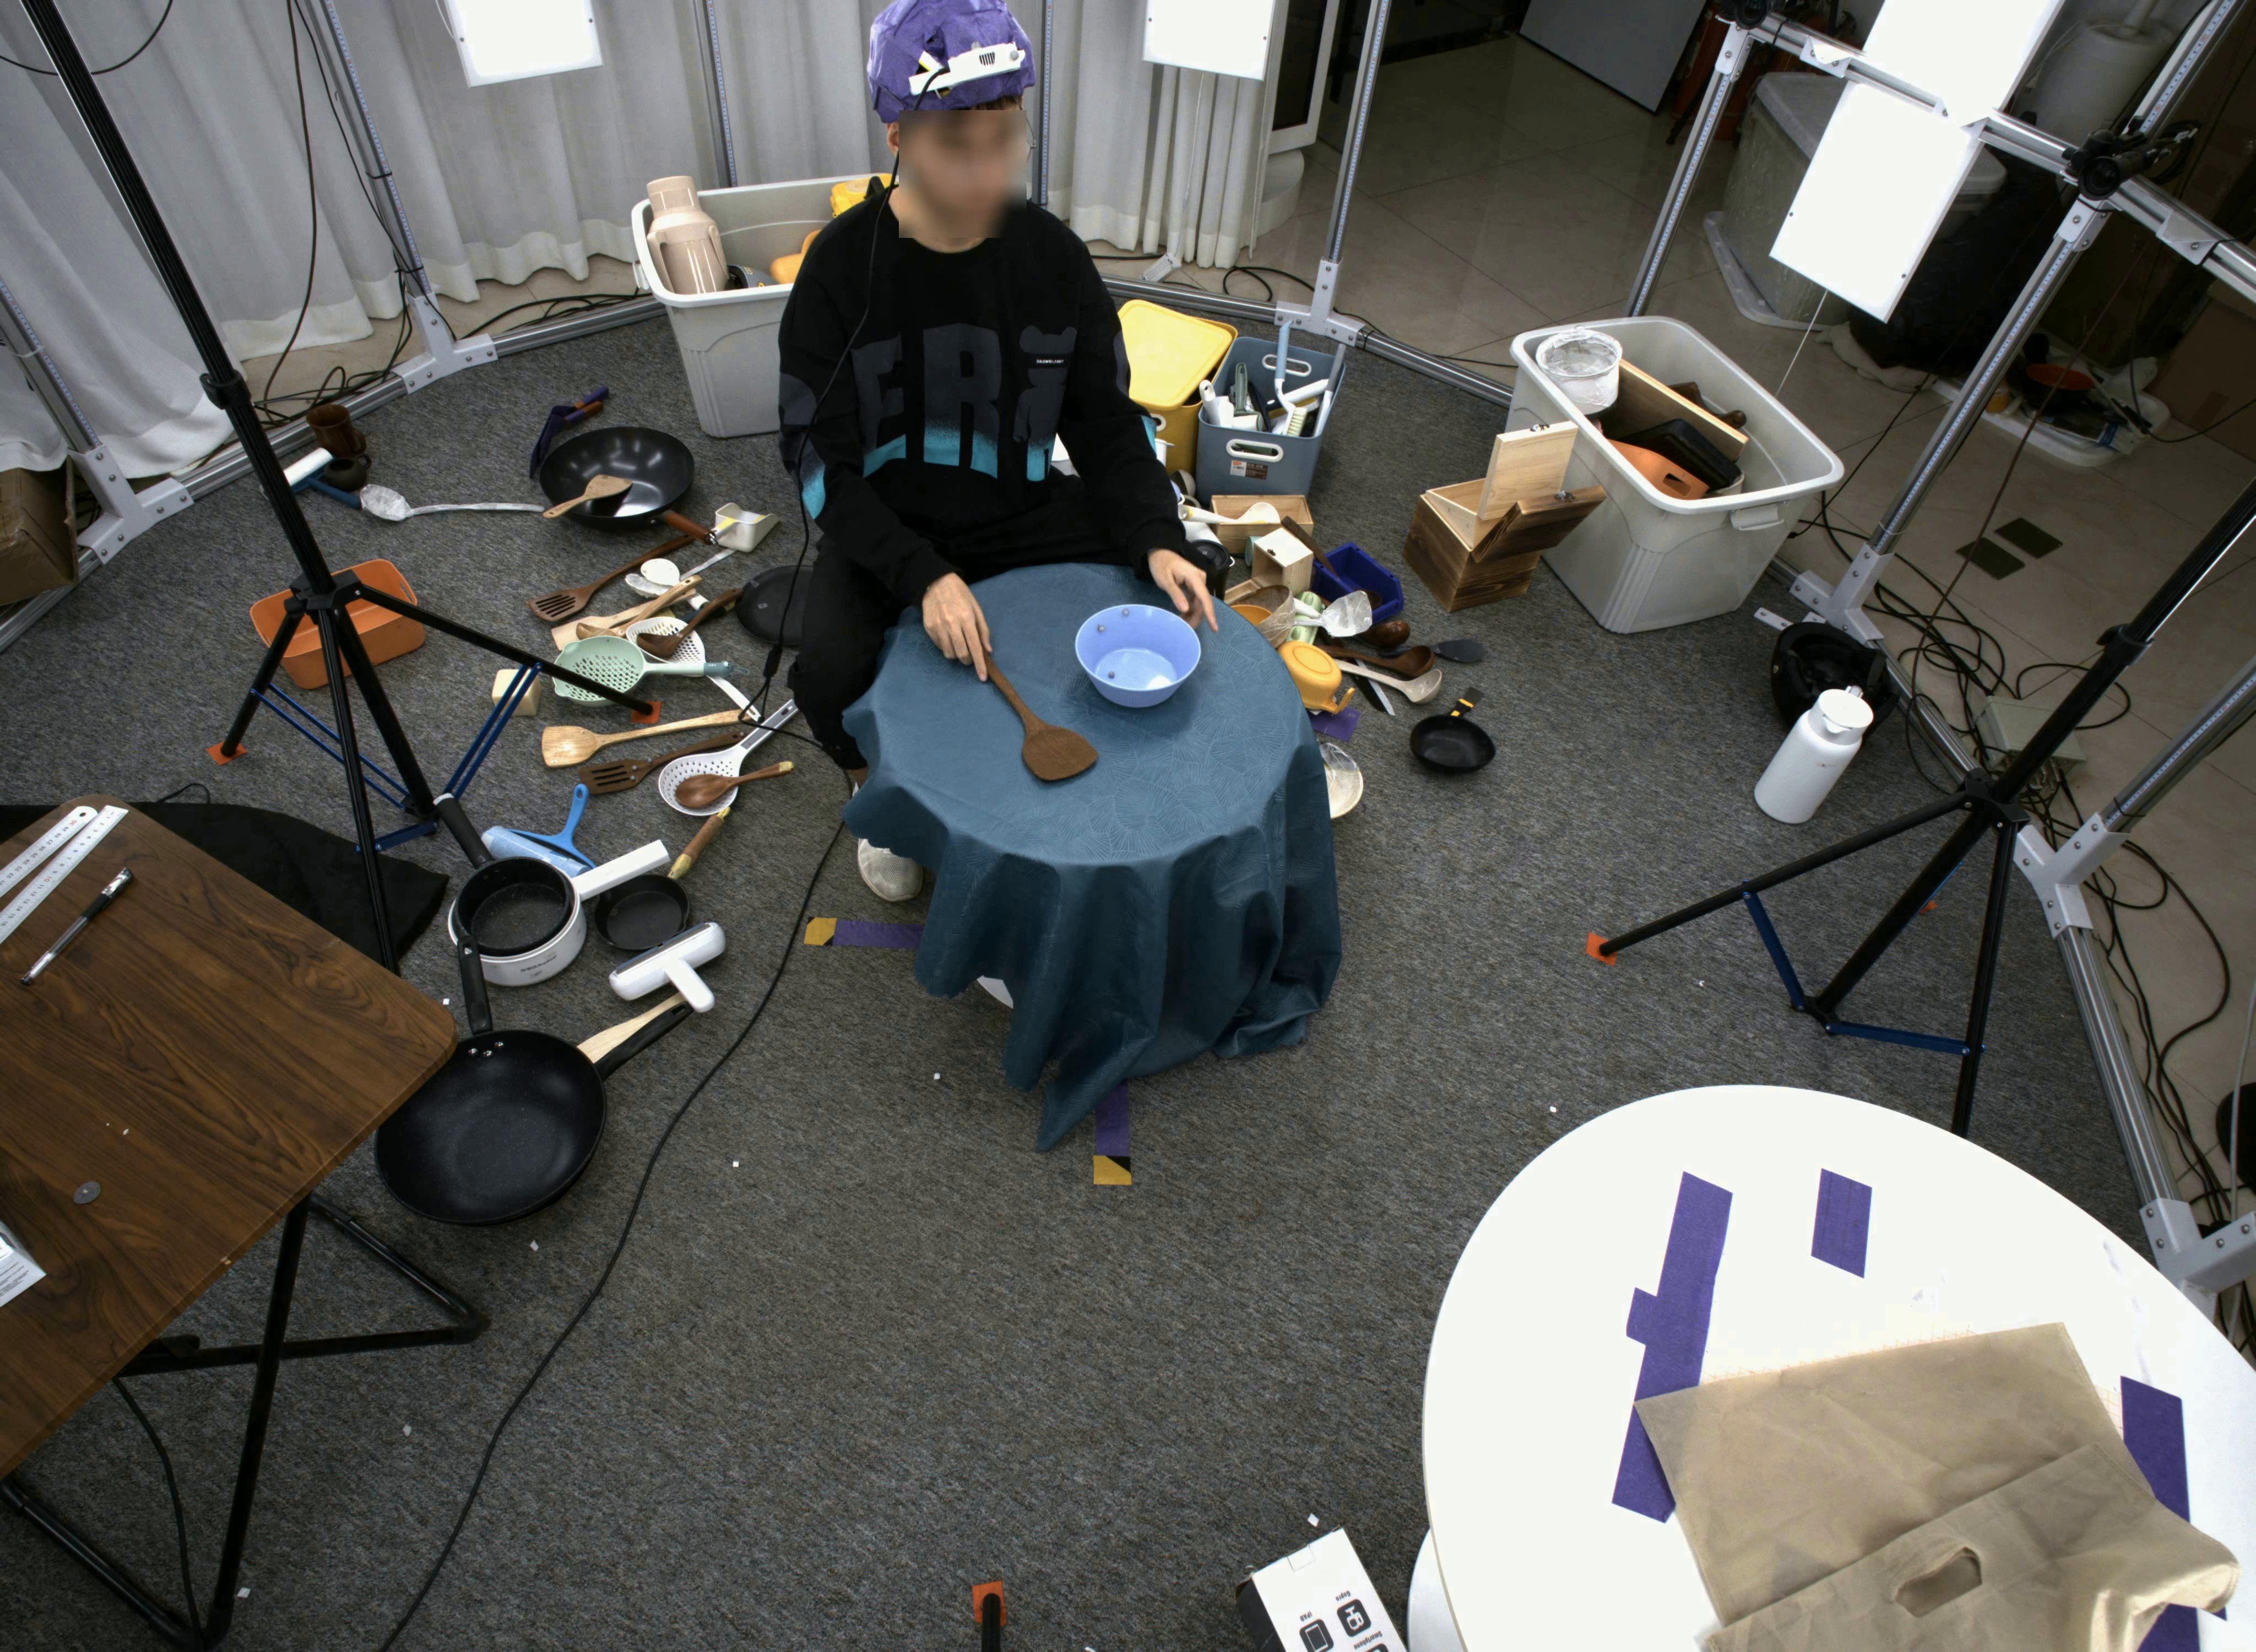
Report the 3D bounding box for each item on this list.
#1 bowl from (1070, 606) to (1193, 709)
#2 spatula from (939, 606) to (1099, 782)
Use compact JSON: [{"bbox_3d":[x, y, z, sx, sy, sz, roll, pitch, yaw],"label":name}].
[{"bbox_3d":[0.003,-0.232,1.840,0.176,0.068,0.180,2,52,-3],"label":"bowl"},{"bbox_3d":[-0.174,-0.199,1.832,0.096,0.015,0.394,-23,56,-23],"label":"spatula"}]
